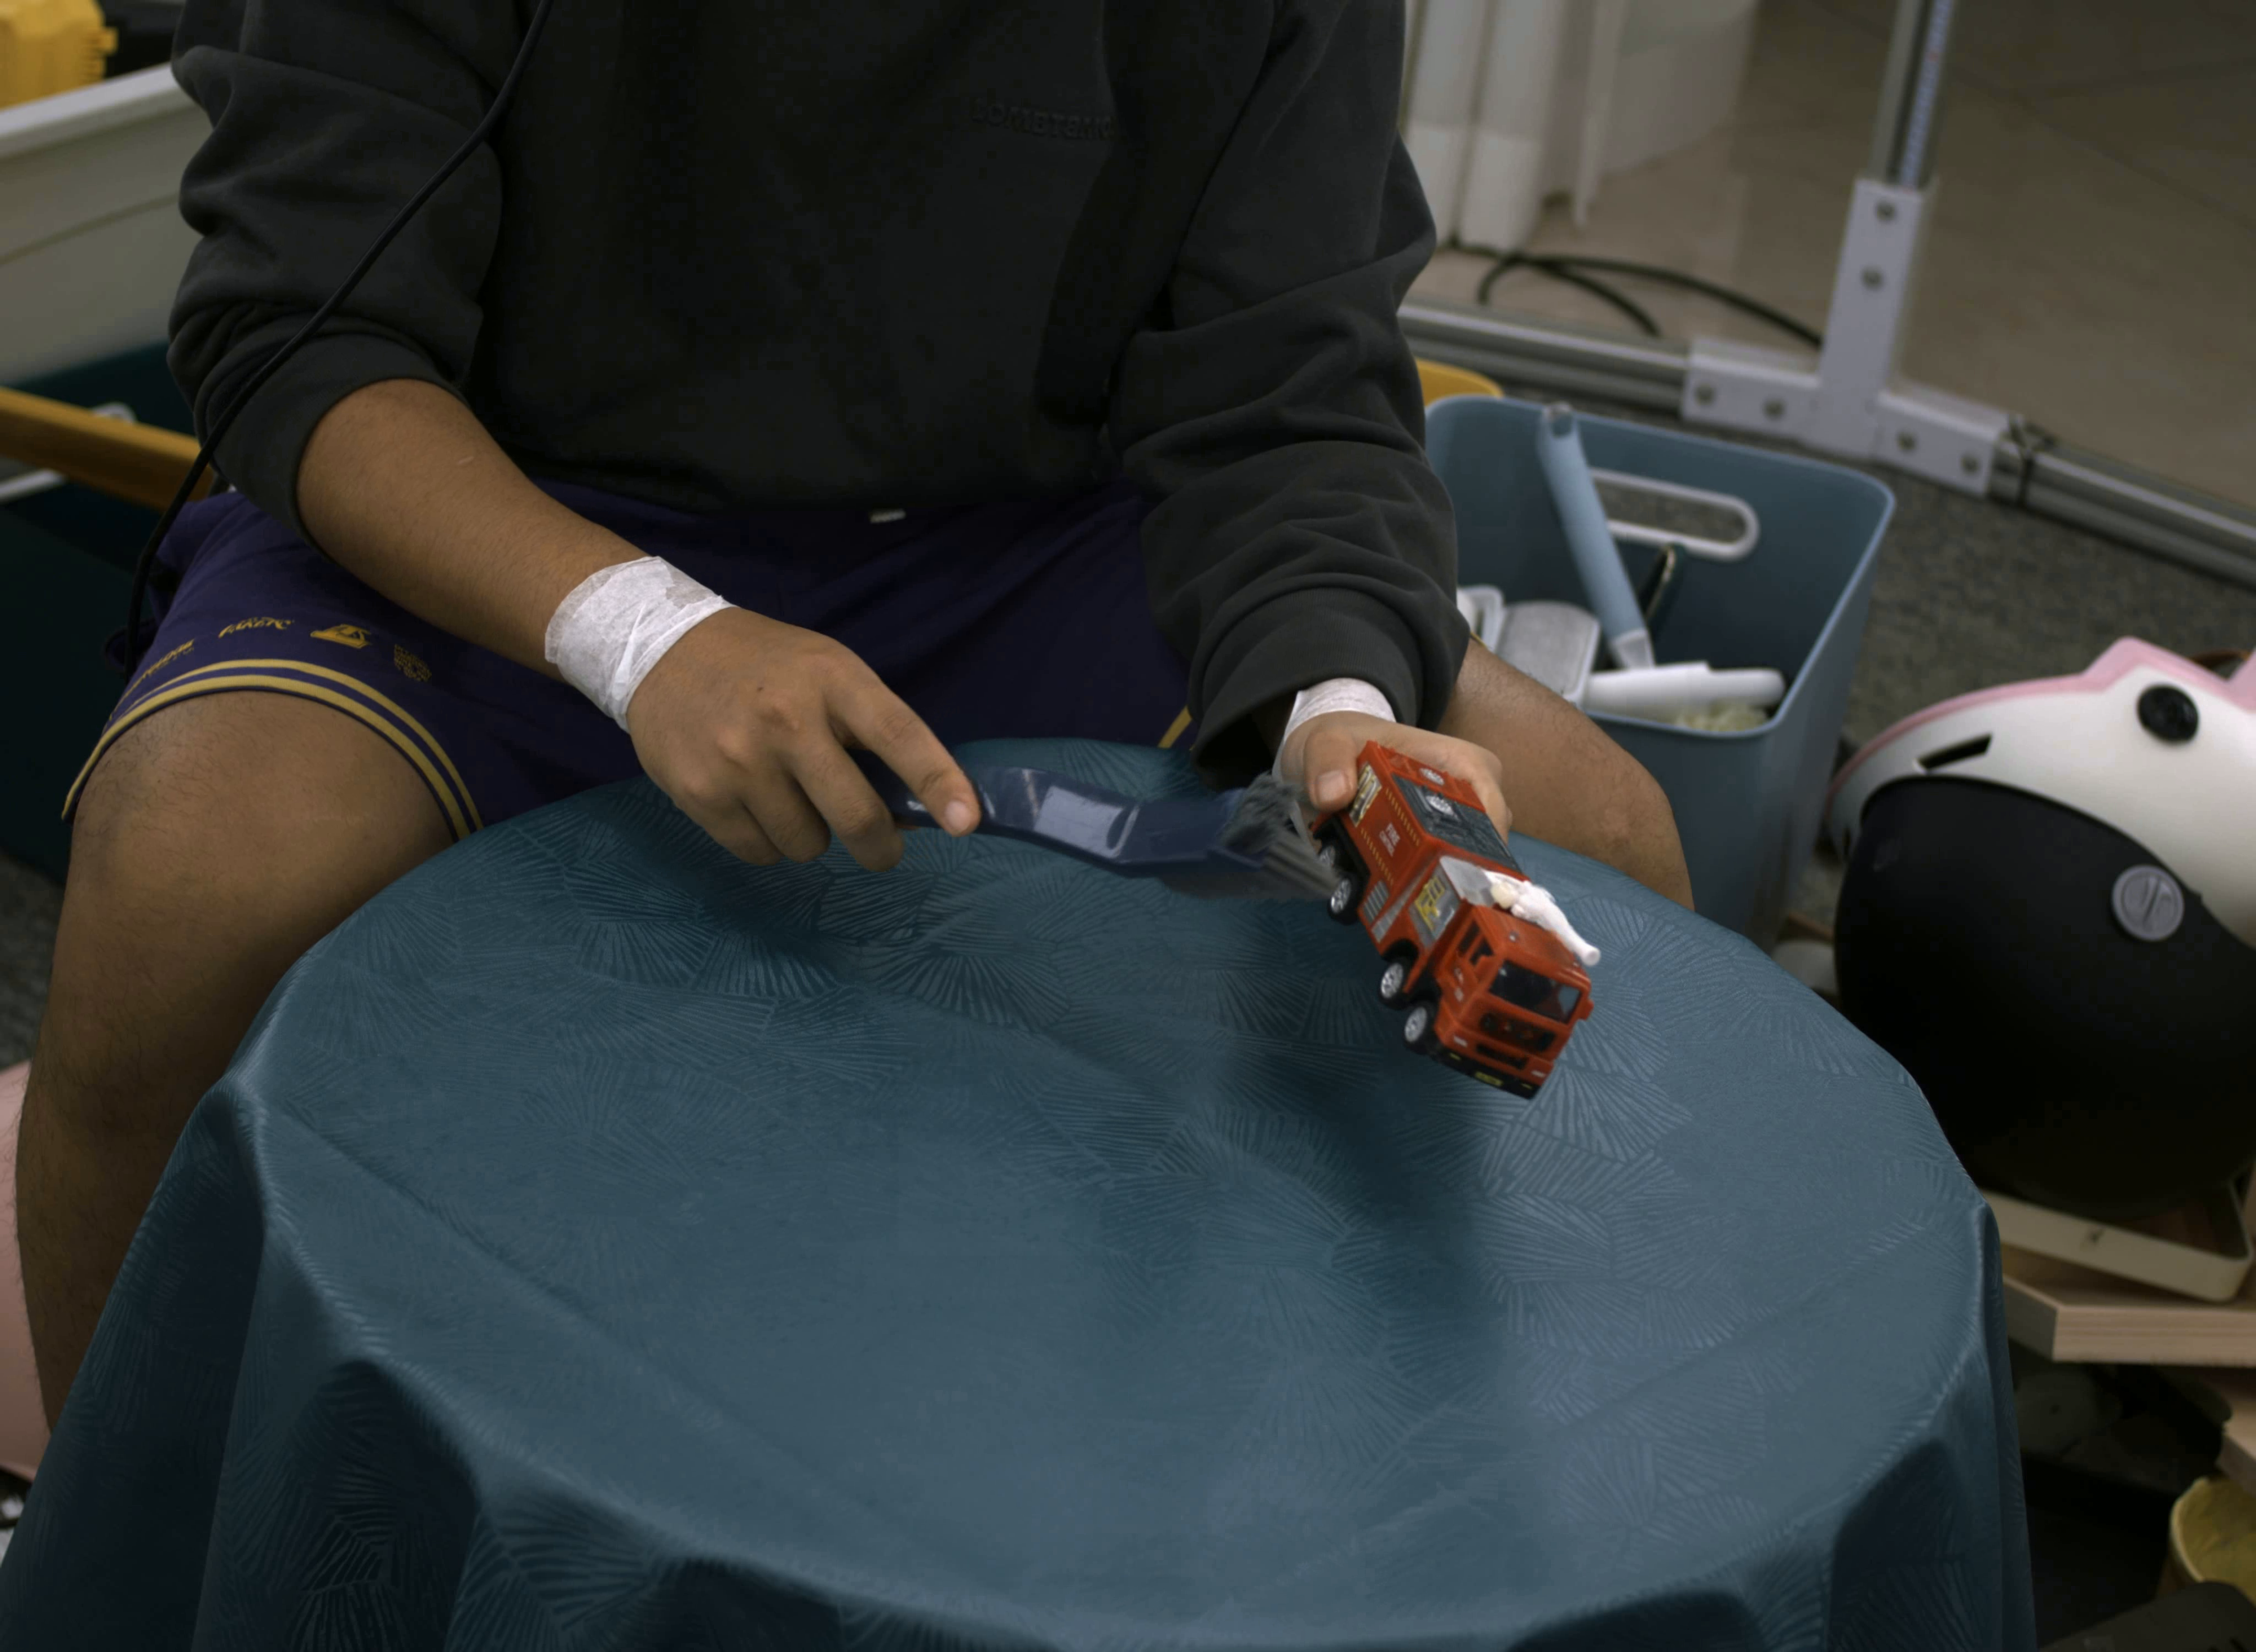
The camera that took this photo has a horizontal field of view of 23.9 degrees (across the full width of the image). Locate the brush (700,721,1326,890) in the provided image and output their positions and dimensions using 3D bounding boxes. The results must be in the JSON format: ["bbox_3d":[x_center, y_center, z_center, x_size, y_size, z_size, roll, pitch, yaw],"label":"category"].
[{"bbox_3d":[-0.051,-0.014,1.878,0.274,0.033,0.095,11,-18,31],"label":"brush"}]

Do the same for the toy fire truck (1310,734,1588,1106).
[{"bbox_3d":[0.110,0.030,1.830,0.053,0.070,0.169,24,19,-25],"label":"toy fire truck"}]
